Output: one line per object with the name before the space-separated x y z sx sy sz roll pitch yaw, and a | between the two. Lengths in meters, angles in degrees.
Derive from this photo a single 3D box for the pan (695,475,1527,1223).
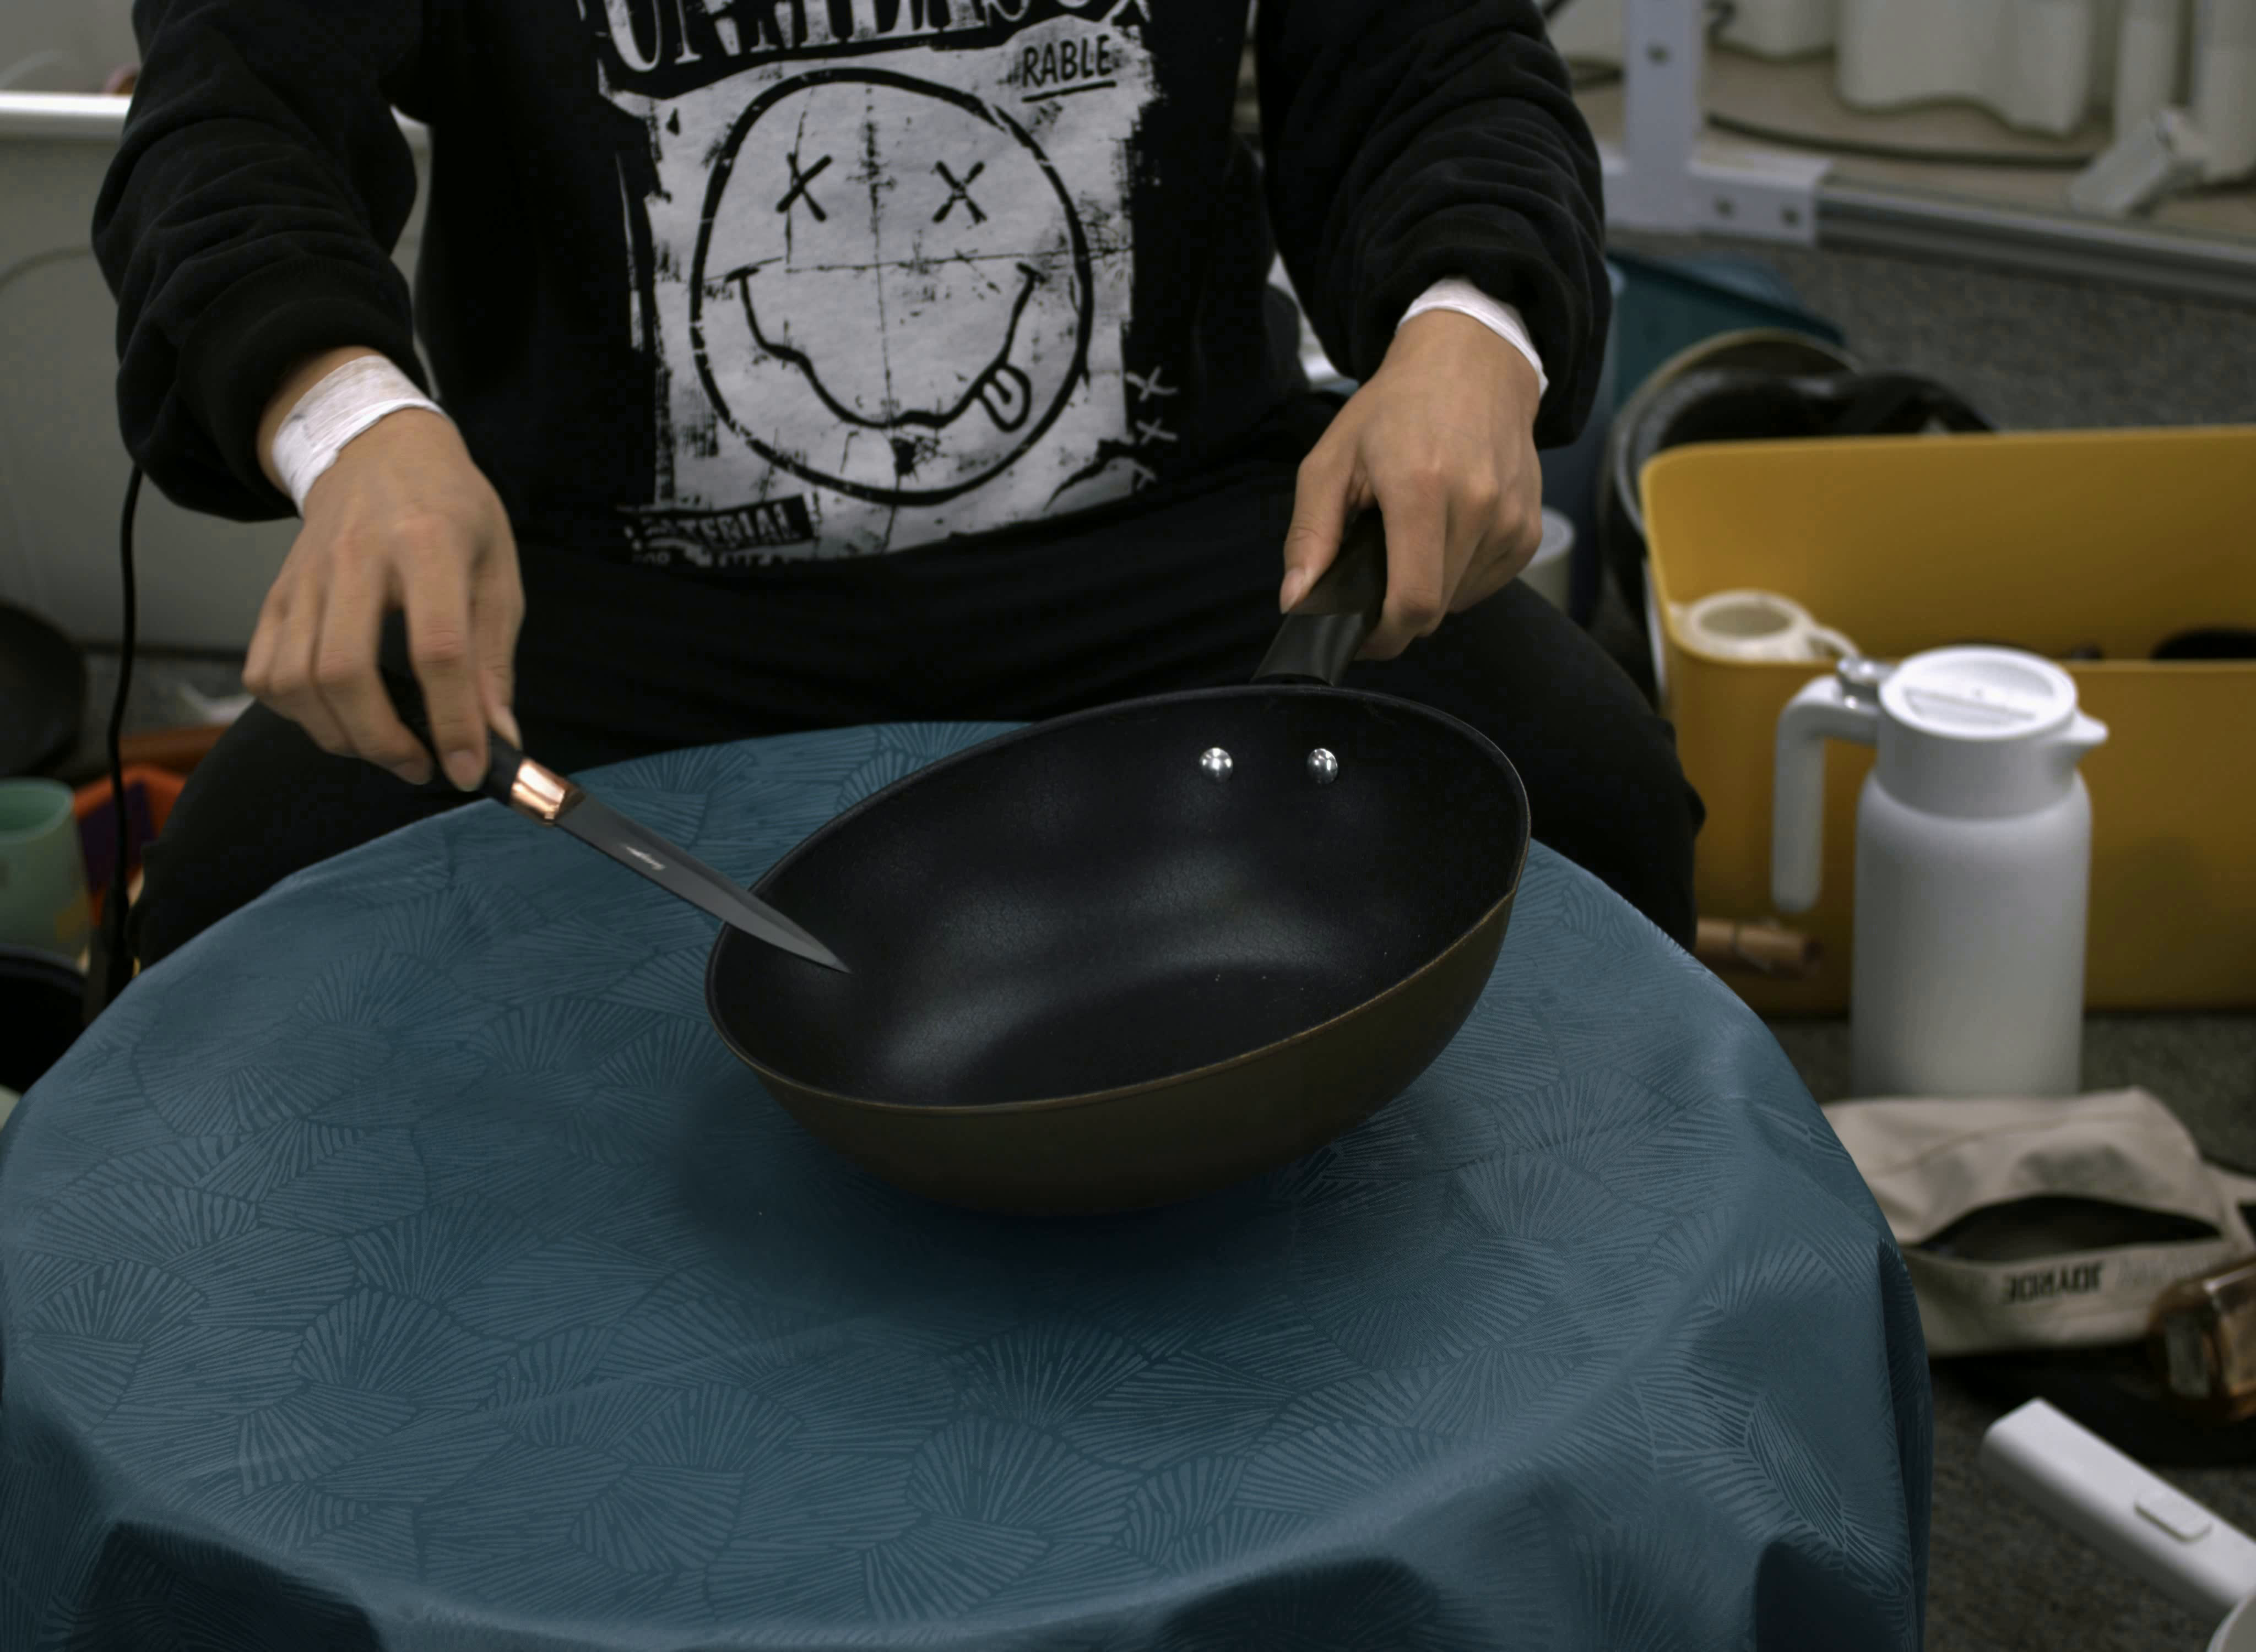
pan | 0.037 0.011 1.948 0.285 0.086 0.471 0 28 26

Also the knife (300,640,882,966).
knife | -0.179 -0.005 1.860 0.225 0.017 0.026 29 31 15
